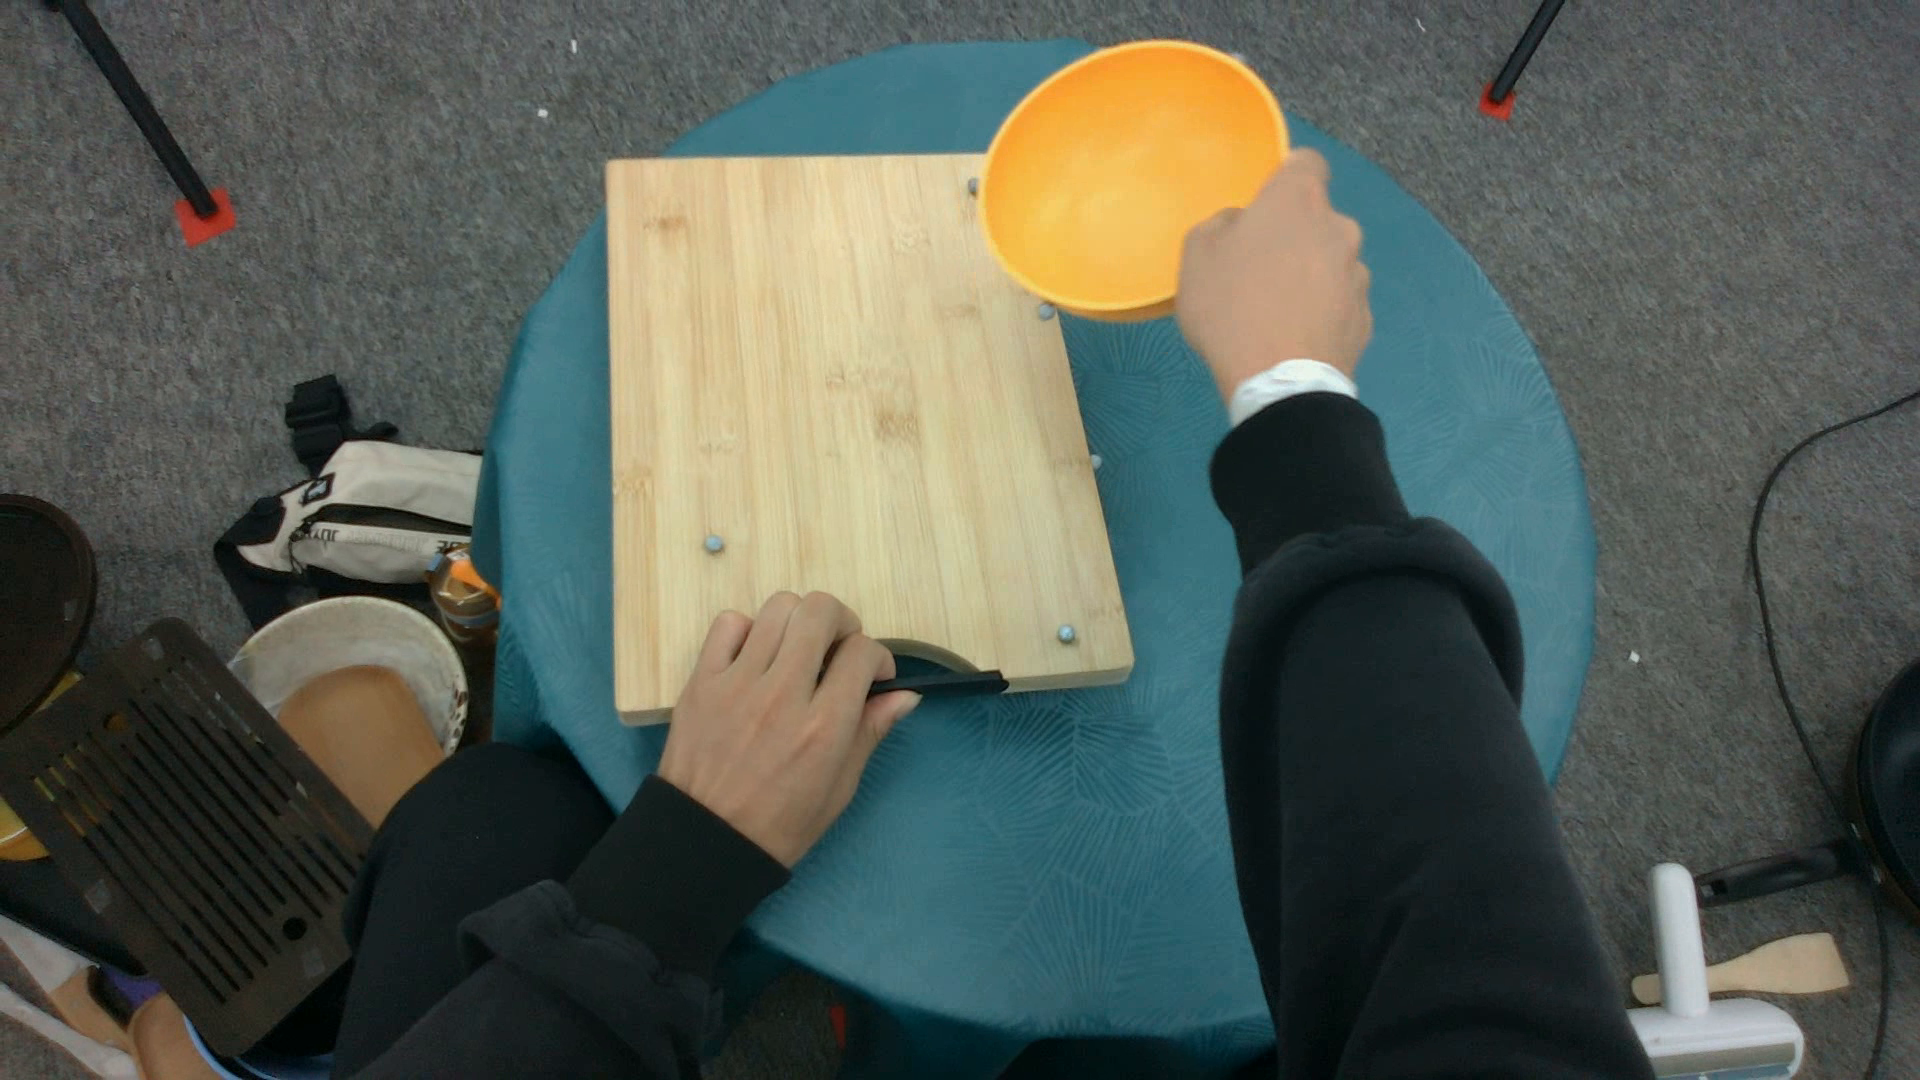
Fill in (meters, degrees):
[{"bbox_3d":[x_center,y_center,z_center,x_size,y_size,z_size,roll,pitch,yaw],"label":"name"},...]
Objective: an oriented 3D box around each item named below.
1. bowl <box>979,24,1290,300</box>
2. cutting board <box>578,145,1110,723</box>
[{"bbox_3d":[0.085,-0.170,0.662,0.145,0.060,0.146,-5,68,12],"label":"bowl"},{"bbox_3d":[-0.073,-0.077,0.717,0.251,0.023,0.350,-5,60,-11],"label":"cutting board"}]
